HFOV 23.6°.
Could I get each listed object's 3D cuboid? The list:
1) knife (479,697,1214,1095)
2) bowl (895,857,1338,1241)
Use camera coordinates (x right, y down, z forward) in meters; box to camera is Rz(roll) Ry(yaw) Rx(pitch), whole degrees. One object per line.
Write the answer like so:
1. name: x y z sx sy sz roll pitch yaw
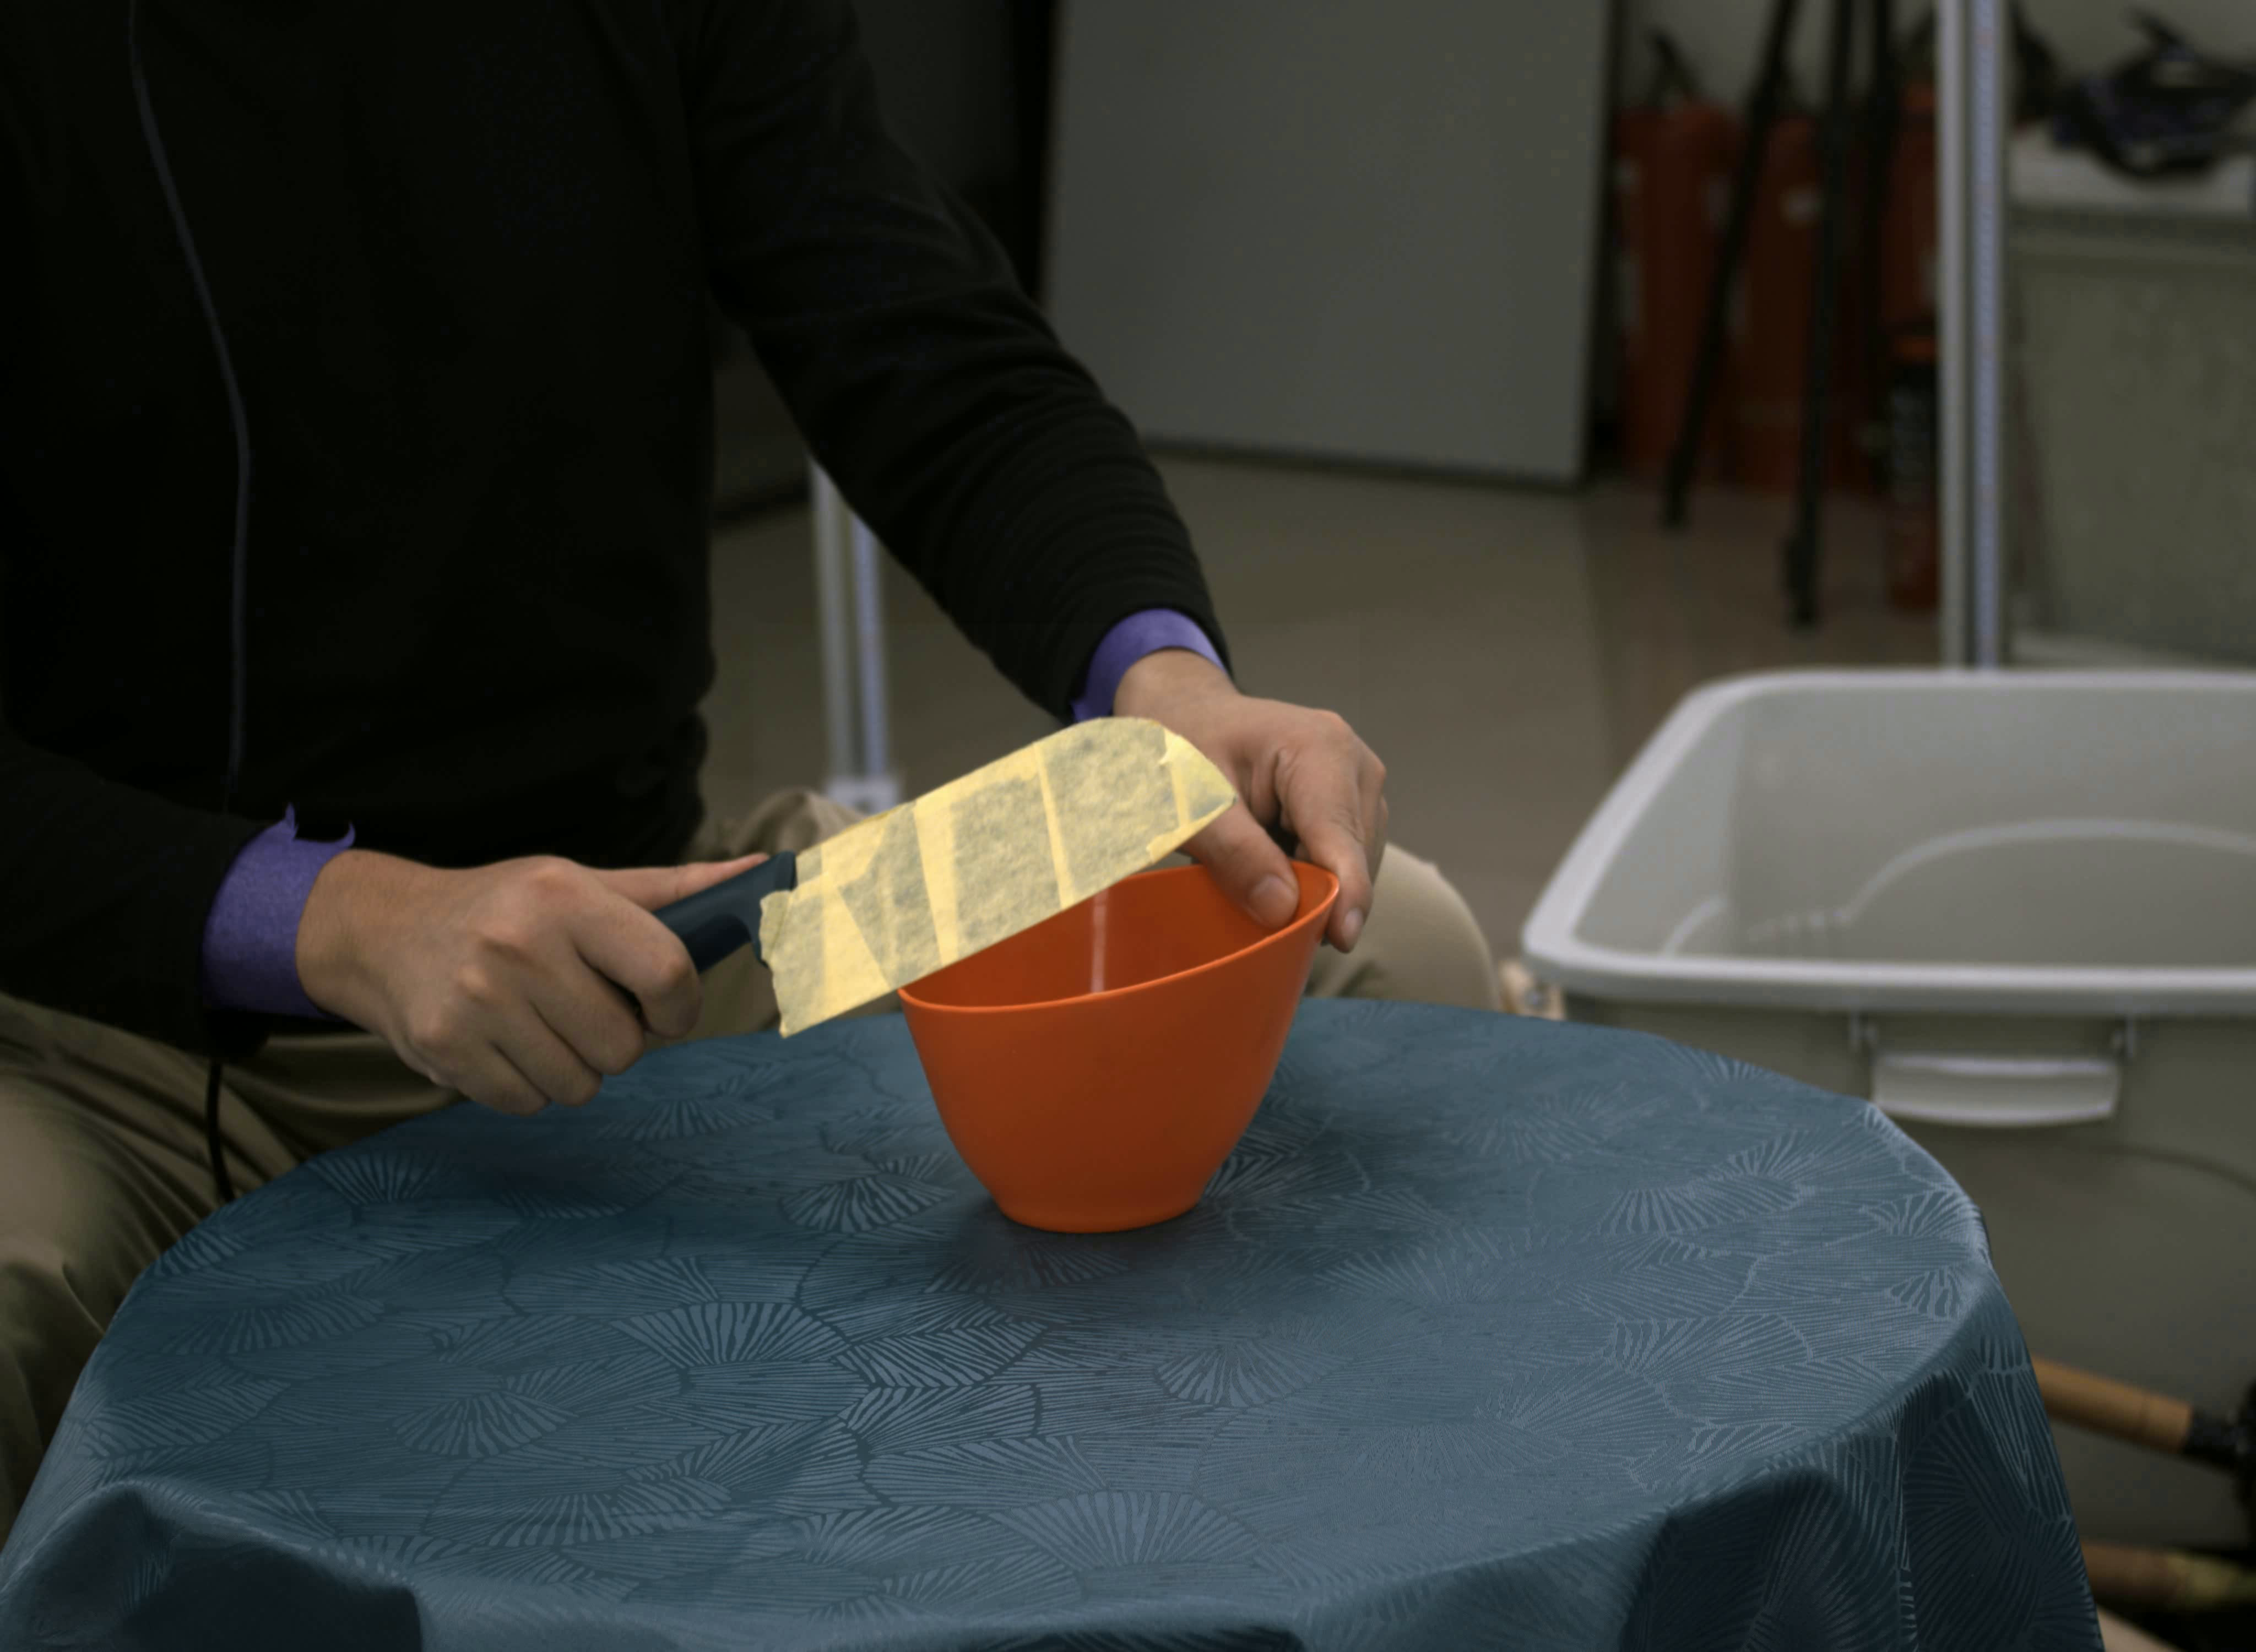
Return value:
1. knife: -0.094 0.031 1.774 0.290 0.027 0.082 -26 44 21
2. bowl: -0.001 0.074 1.750 0.146 0.106 0.148 -5 15 0
